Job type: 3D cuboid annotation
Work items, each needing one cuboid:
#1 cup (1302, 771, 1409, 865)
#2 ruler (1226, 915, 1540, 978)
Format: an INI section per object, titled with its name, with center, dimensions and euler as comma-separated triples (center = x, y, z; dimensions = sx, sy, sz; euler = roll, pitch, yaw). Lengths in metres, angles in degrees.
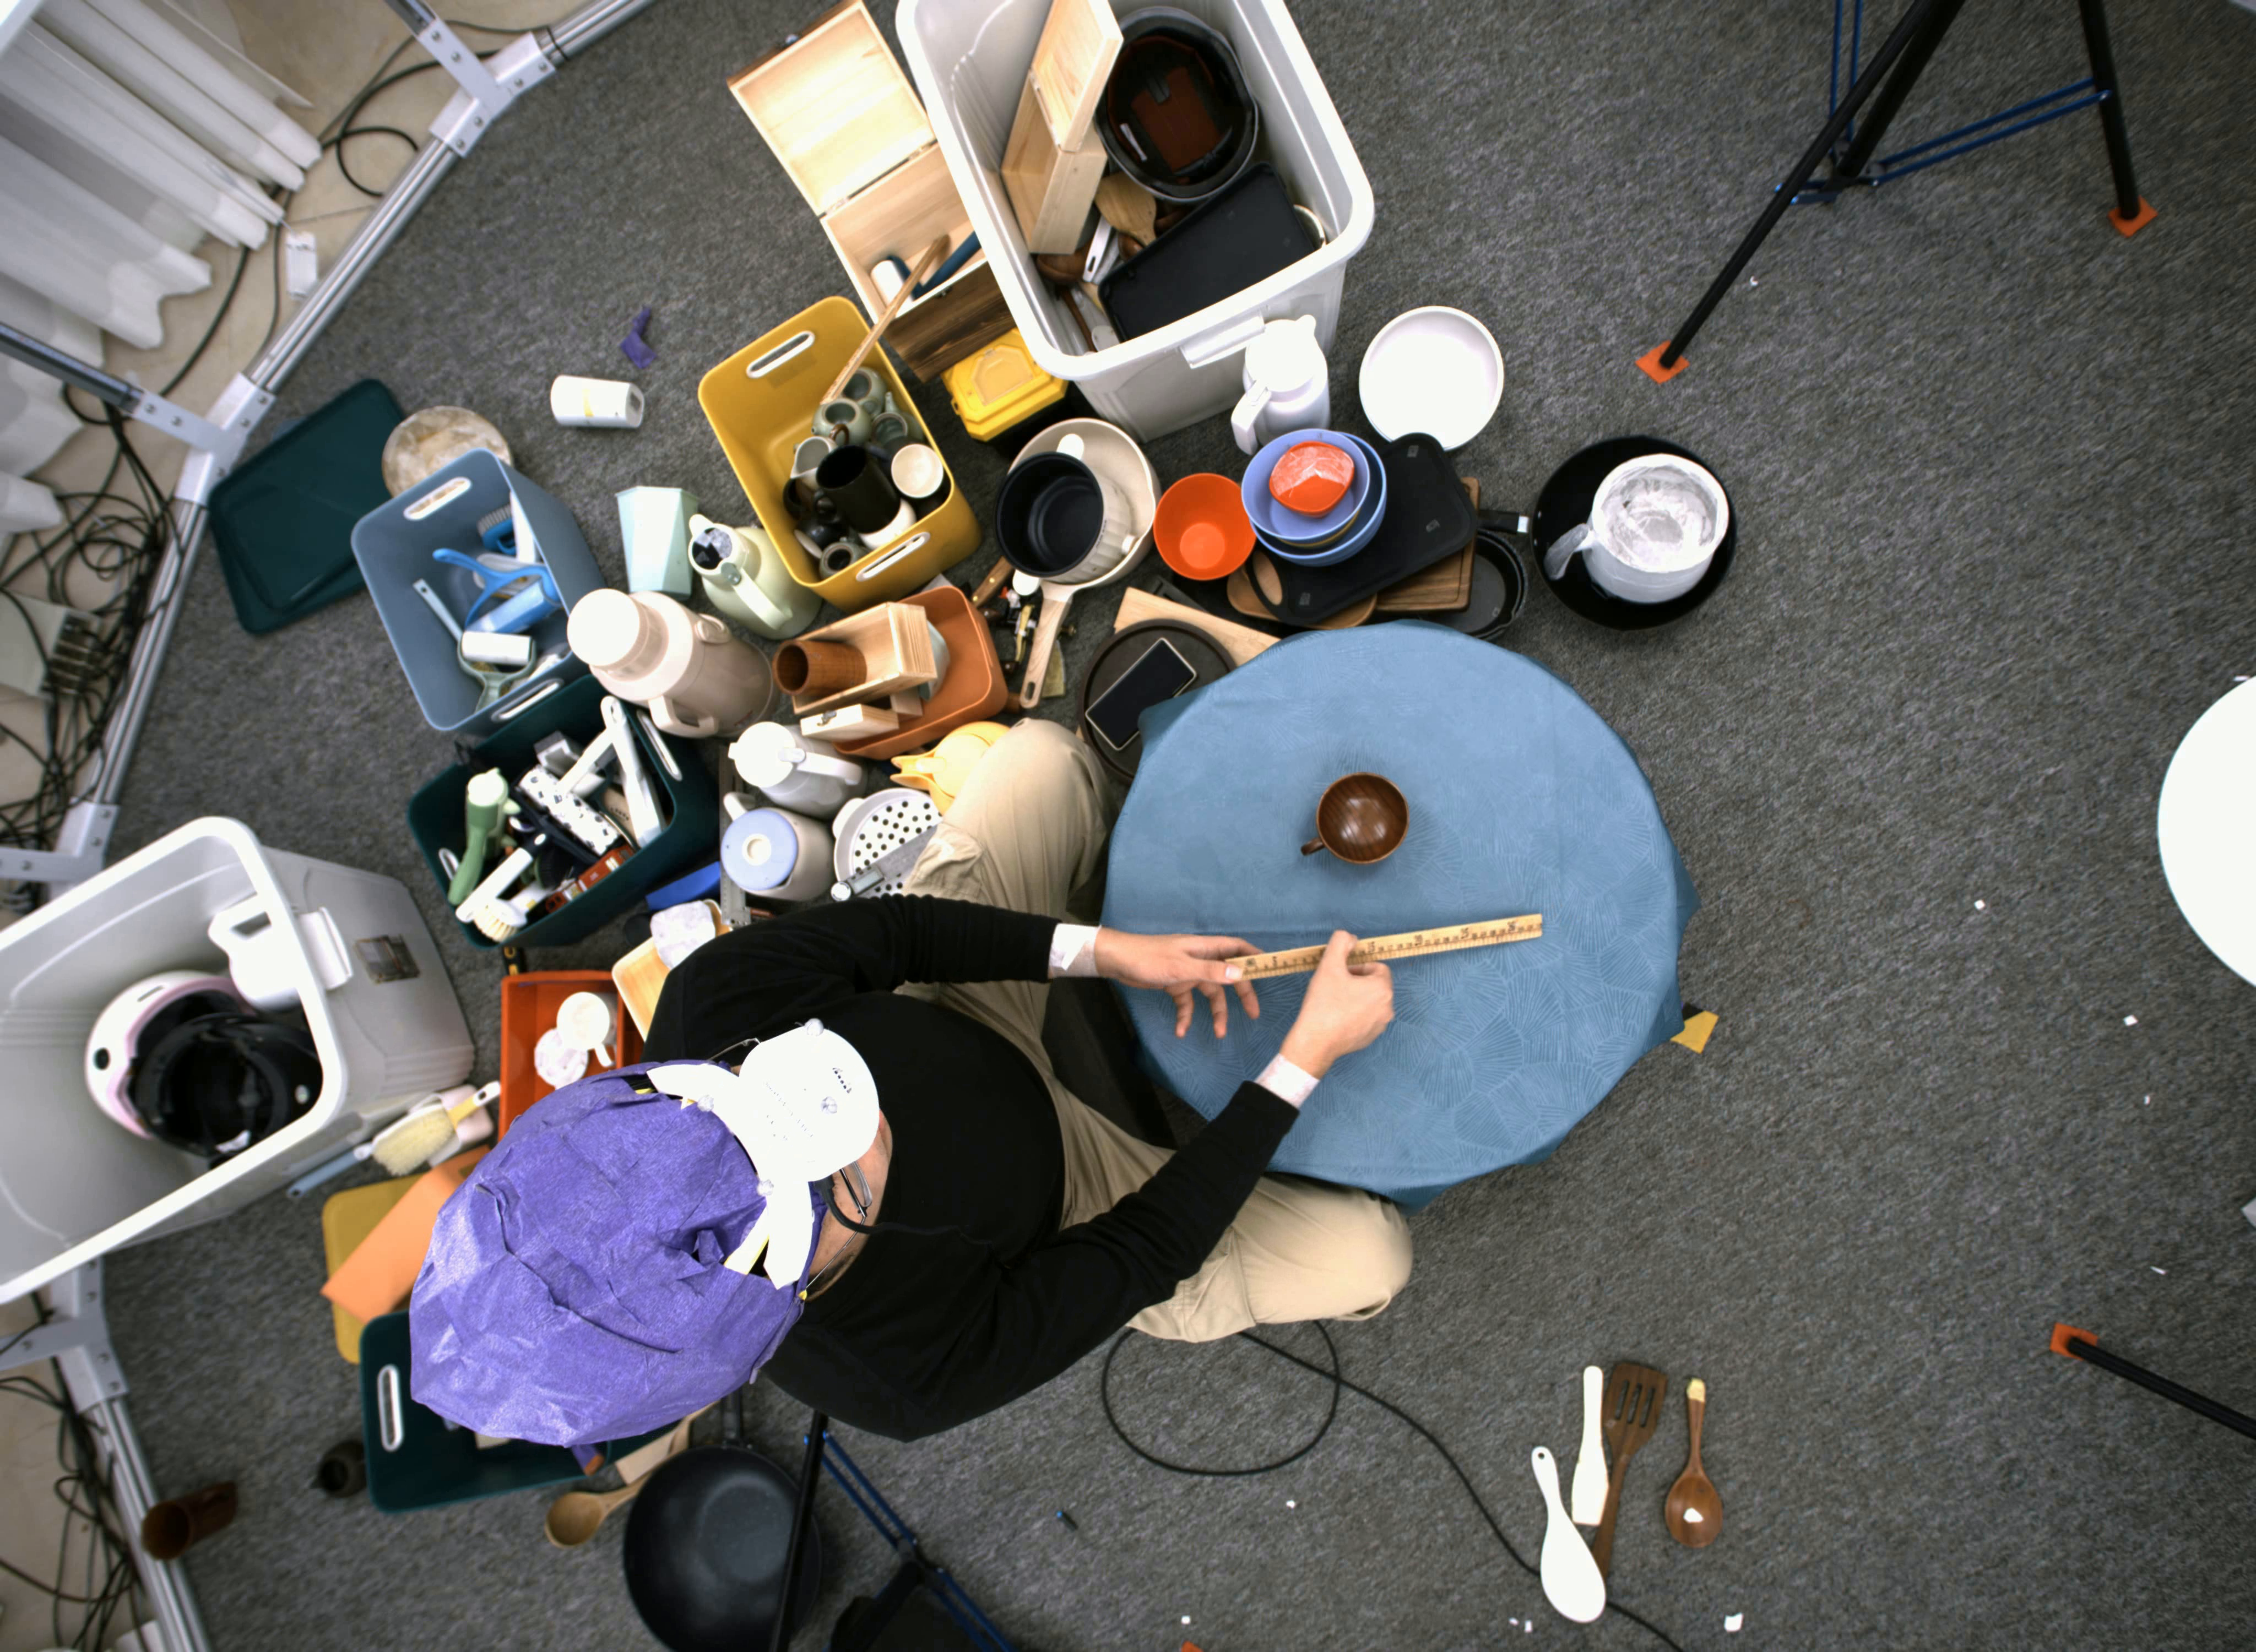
[cup]
center = 0.233, -0.002, 1.438
dimensions = 0.120, 0.067, 0.095
euler = -30, 83, 8
[ruler]
center = 0.263, 0.122, 1.405
dimensions = 0.331, 0.022, 0.028
euler = -7, 104, -6
